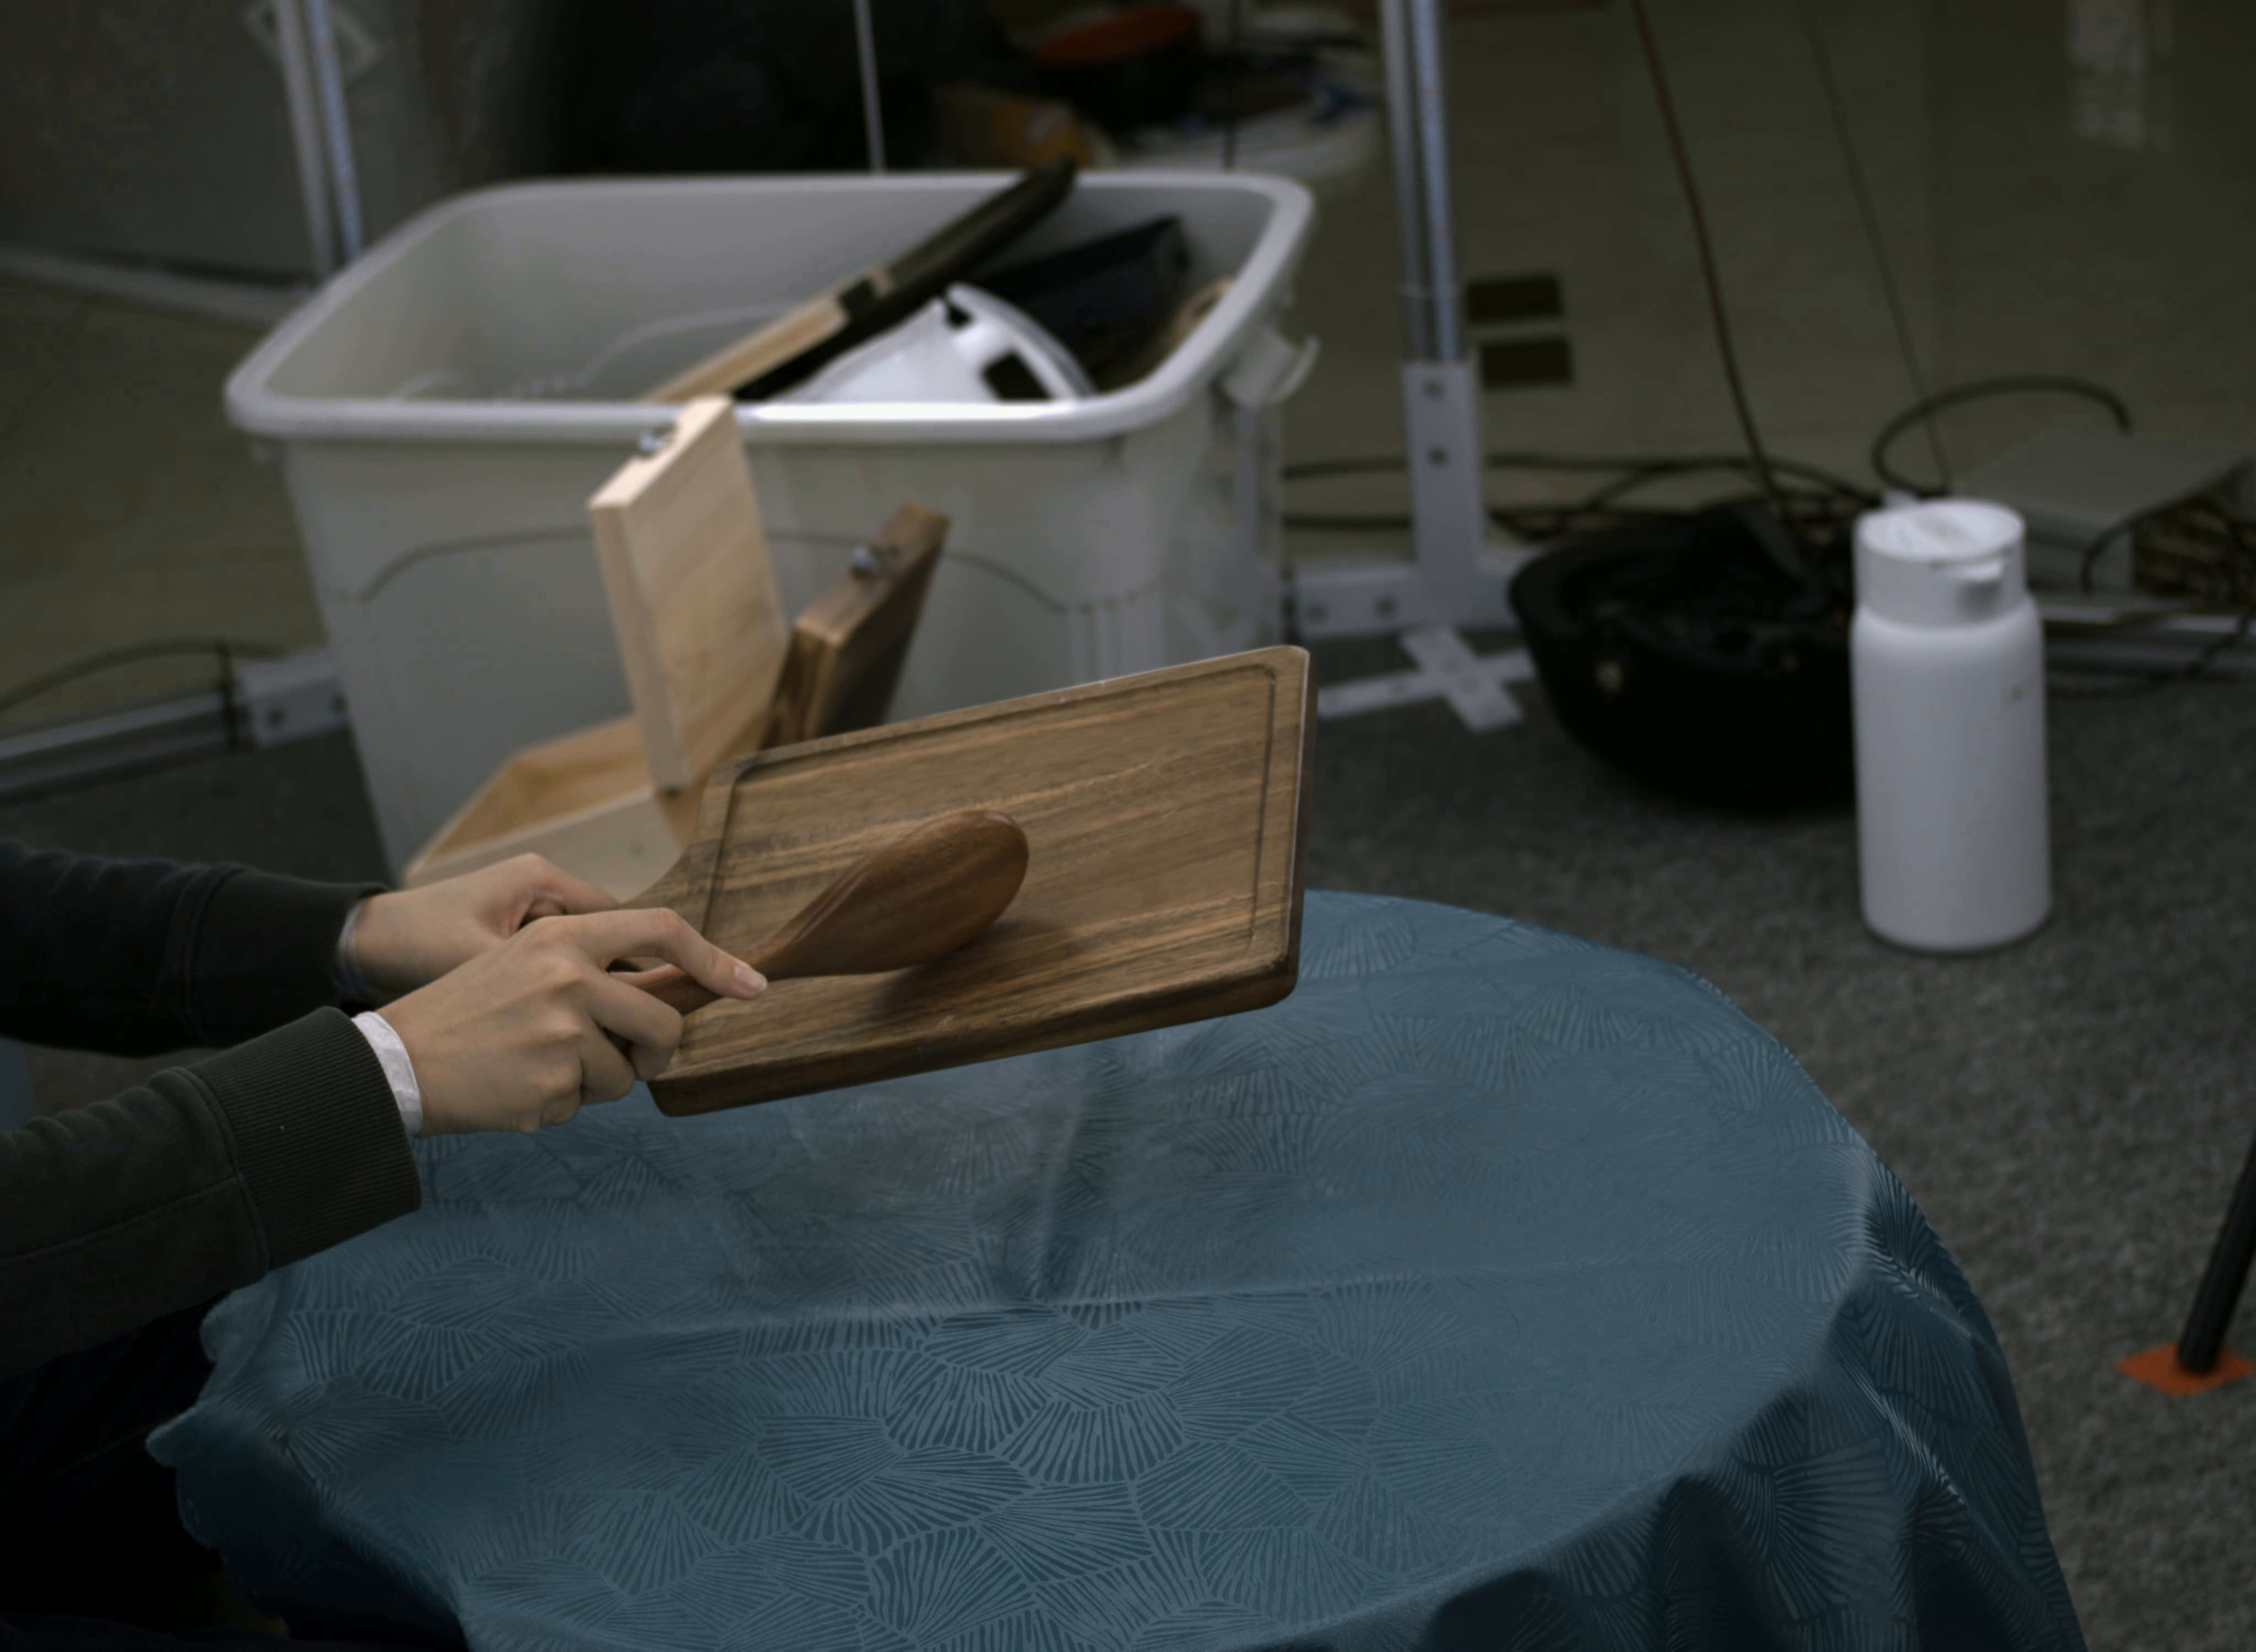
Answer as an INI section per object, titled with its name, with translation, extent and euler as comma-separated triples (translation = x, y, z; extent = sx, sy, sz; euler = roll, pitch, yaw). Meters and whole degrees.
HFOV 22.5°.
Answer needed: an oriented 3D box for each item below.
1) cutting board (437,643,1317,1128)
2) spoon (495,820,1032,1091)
[cutting board]
translation = -0.099, 0.030, 2.165
extent = 0.352, 0.023, 0.197
euler = -11, 39, 15
[spoon]
translation = -0.130, 0.051, 2.067
extent = 0.215, 0.077, 0.017
euler = -21, 59, -17
